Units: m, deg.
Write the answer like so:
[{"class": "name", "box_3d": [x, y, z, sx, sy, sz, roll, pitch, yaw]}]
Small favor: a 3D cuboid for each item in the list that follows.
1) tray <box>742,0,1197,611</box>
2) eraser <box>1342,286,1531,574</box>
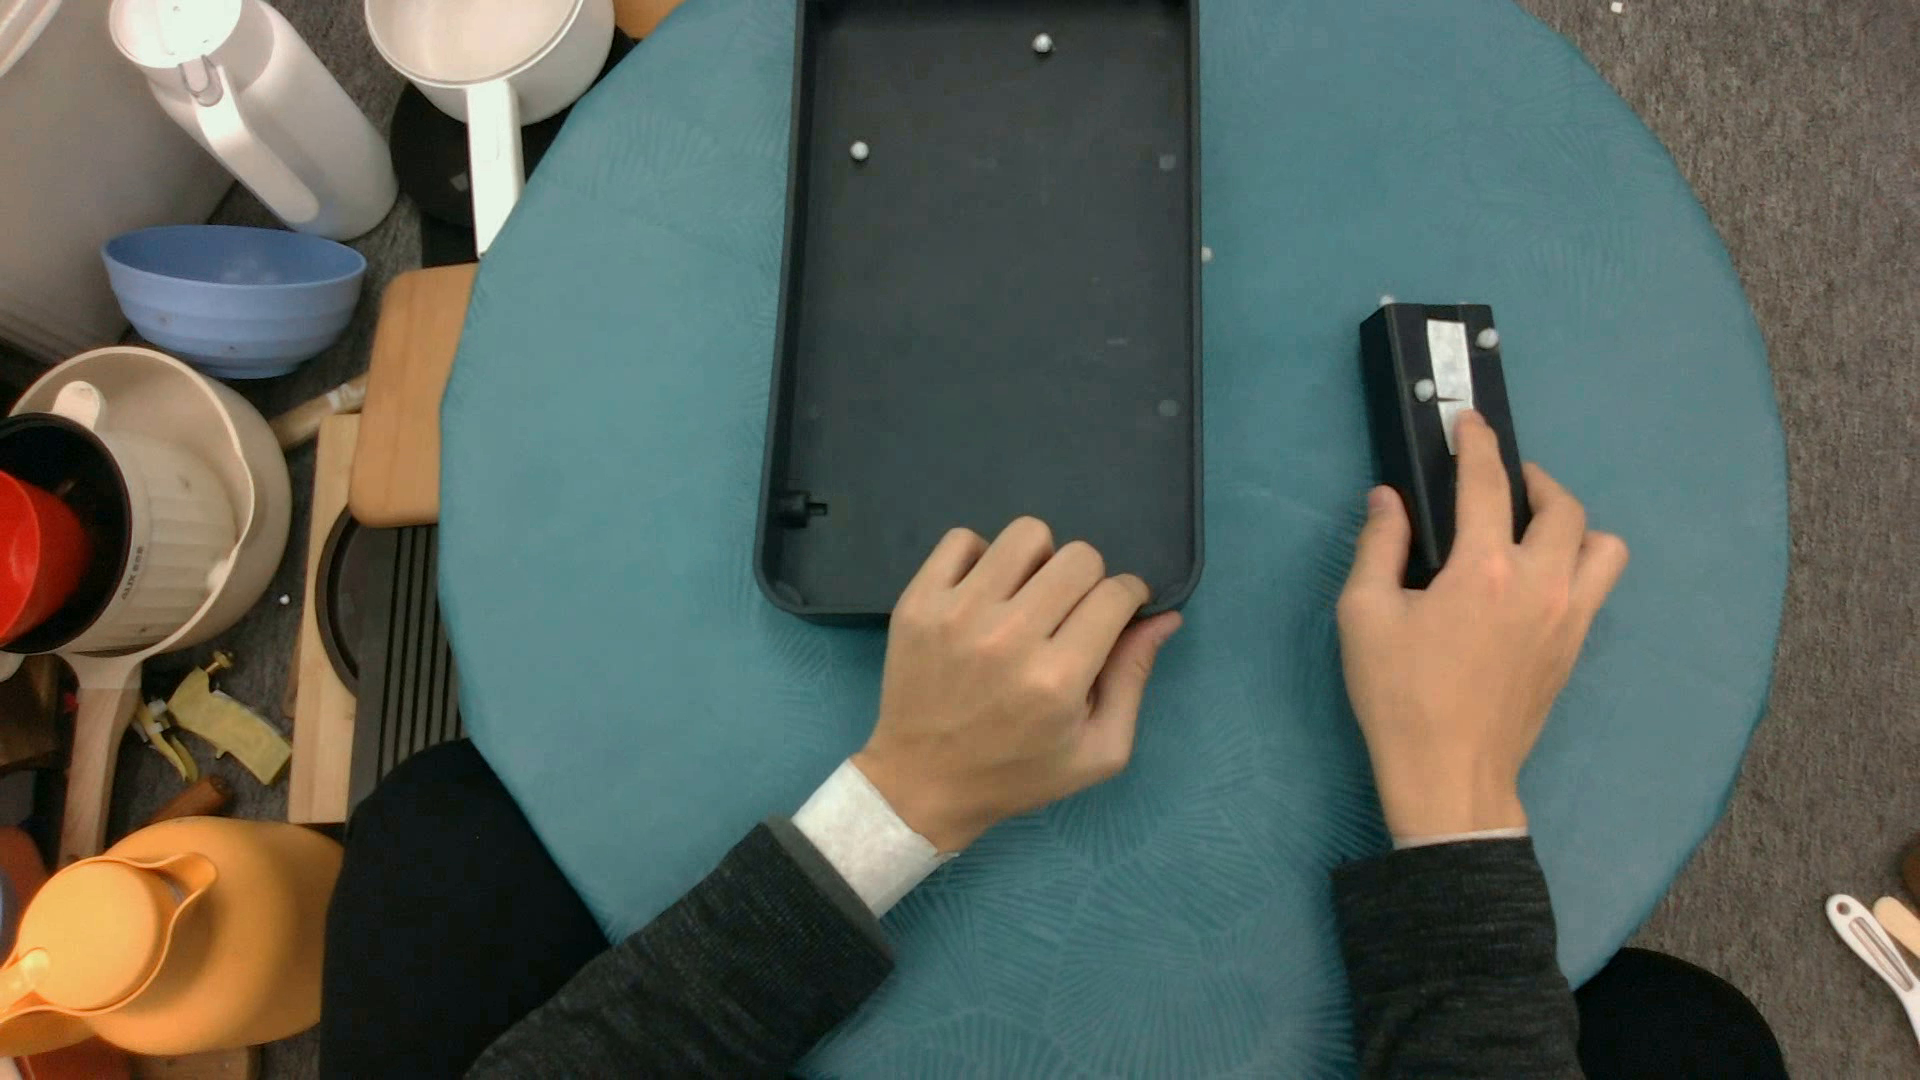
[{"class": "tray", "box_3d": [0.005, -0.126, 0.604, 0.184, 0.037, 0.319, -2, 73, 8]}, {"class": "eraser", "box_3d": [0.203, -0.048, 0.591, 0.053, 0.030, 0.126, -3, 72, -12]}]
